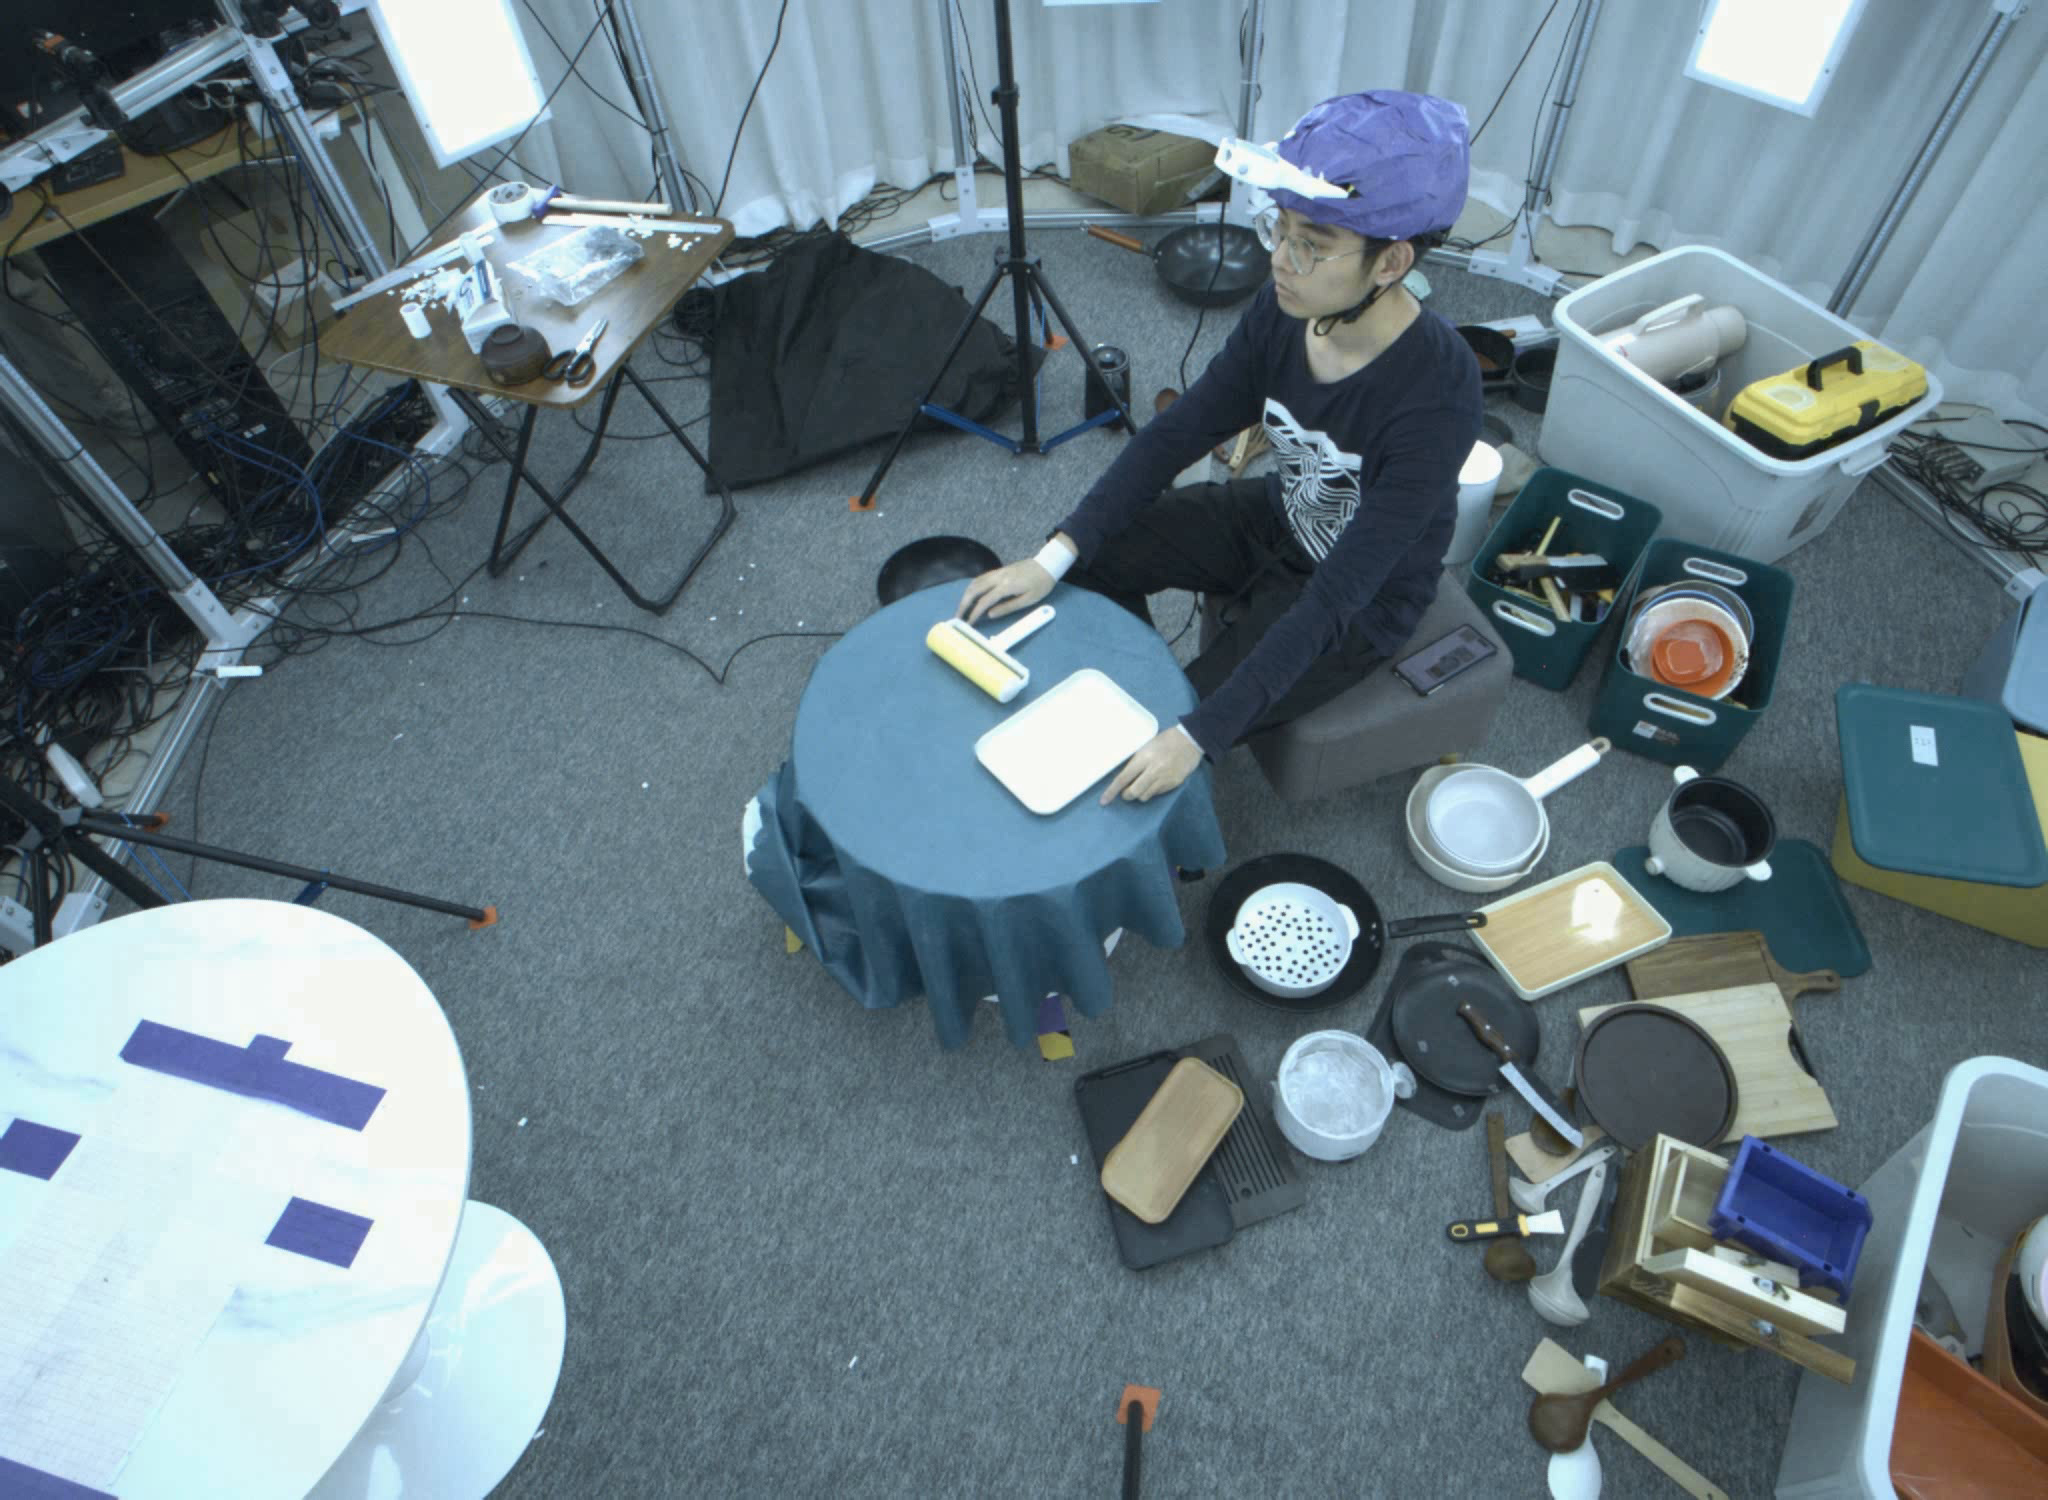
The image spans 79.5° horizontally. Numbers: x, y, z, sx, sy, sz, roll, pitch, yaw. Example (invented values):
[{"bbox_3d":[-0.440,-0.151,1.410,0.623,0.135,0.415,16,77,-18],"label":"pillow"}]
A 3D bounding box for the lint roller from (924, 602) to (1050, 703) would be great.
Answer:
[{"bbox_3d":[-0.031,-0.178,1.892,0.171,0.052,0.193,37,67,23],"label":"lint roller"}]

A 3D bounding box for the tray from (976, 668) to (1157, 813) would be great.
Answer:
[{"bbox_3d":[0.062,-0.015,1.793,0.241,0.017,0.168,-35,62,-22],"label":"tray"}]
